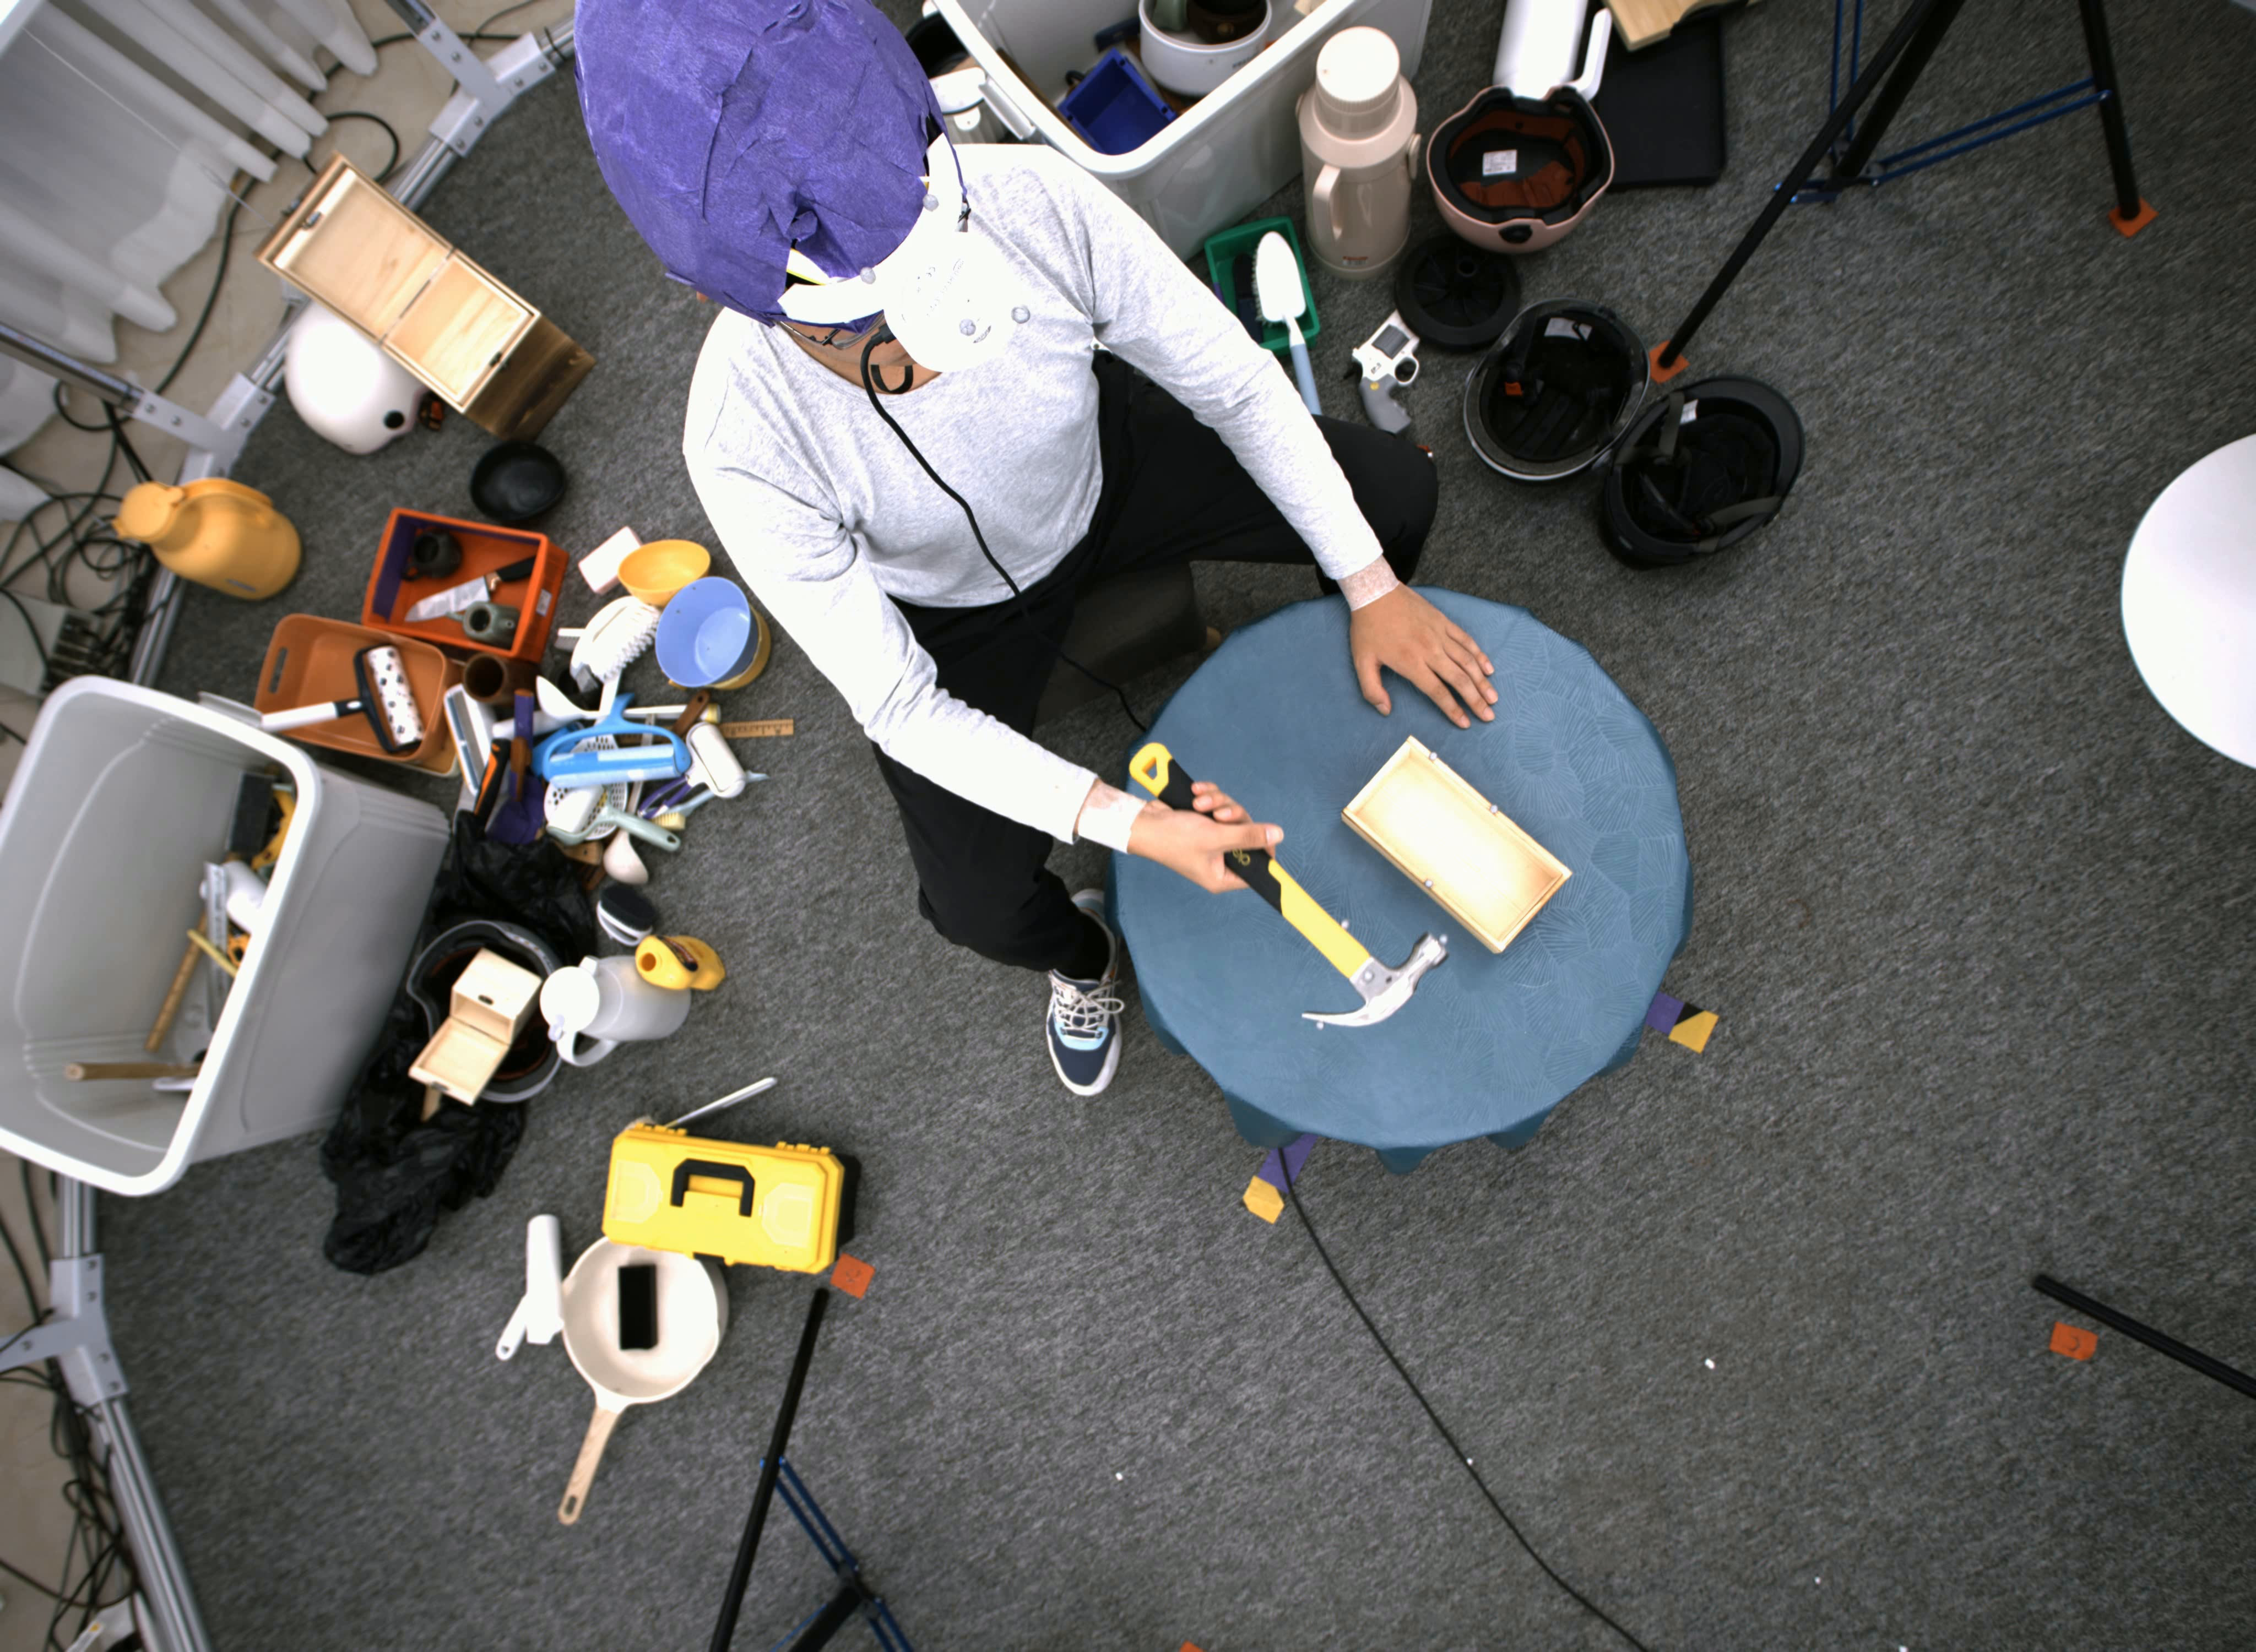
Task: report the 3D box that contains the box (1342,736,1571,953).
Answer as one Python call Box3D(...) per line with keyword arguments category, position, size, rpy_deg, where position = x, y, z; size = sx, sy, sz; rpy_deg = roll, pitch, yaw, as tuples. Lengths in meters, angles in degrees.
Box3D(category="box", position=(0.334, 0.019, 1.412), size=(0.210, 0.080, 0.108), rpy_deg=(42, 94, 10))

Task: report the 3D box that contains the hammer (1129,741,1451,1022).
Box3D(category="hammer", position=(0.125, 0.042, 1.258), size=(0.336, 0.032, 0.132), rpy_deg=(45, 101, 17))
